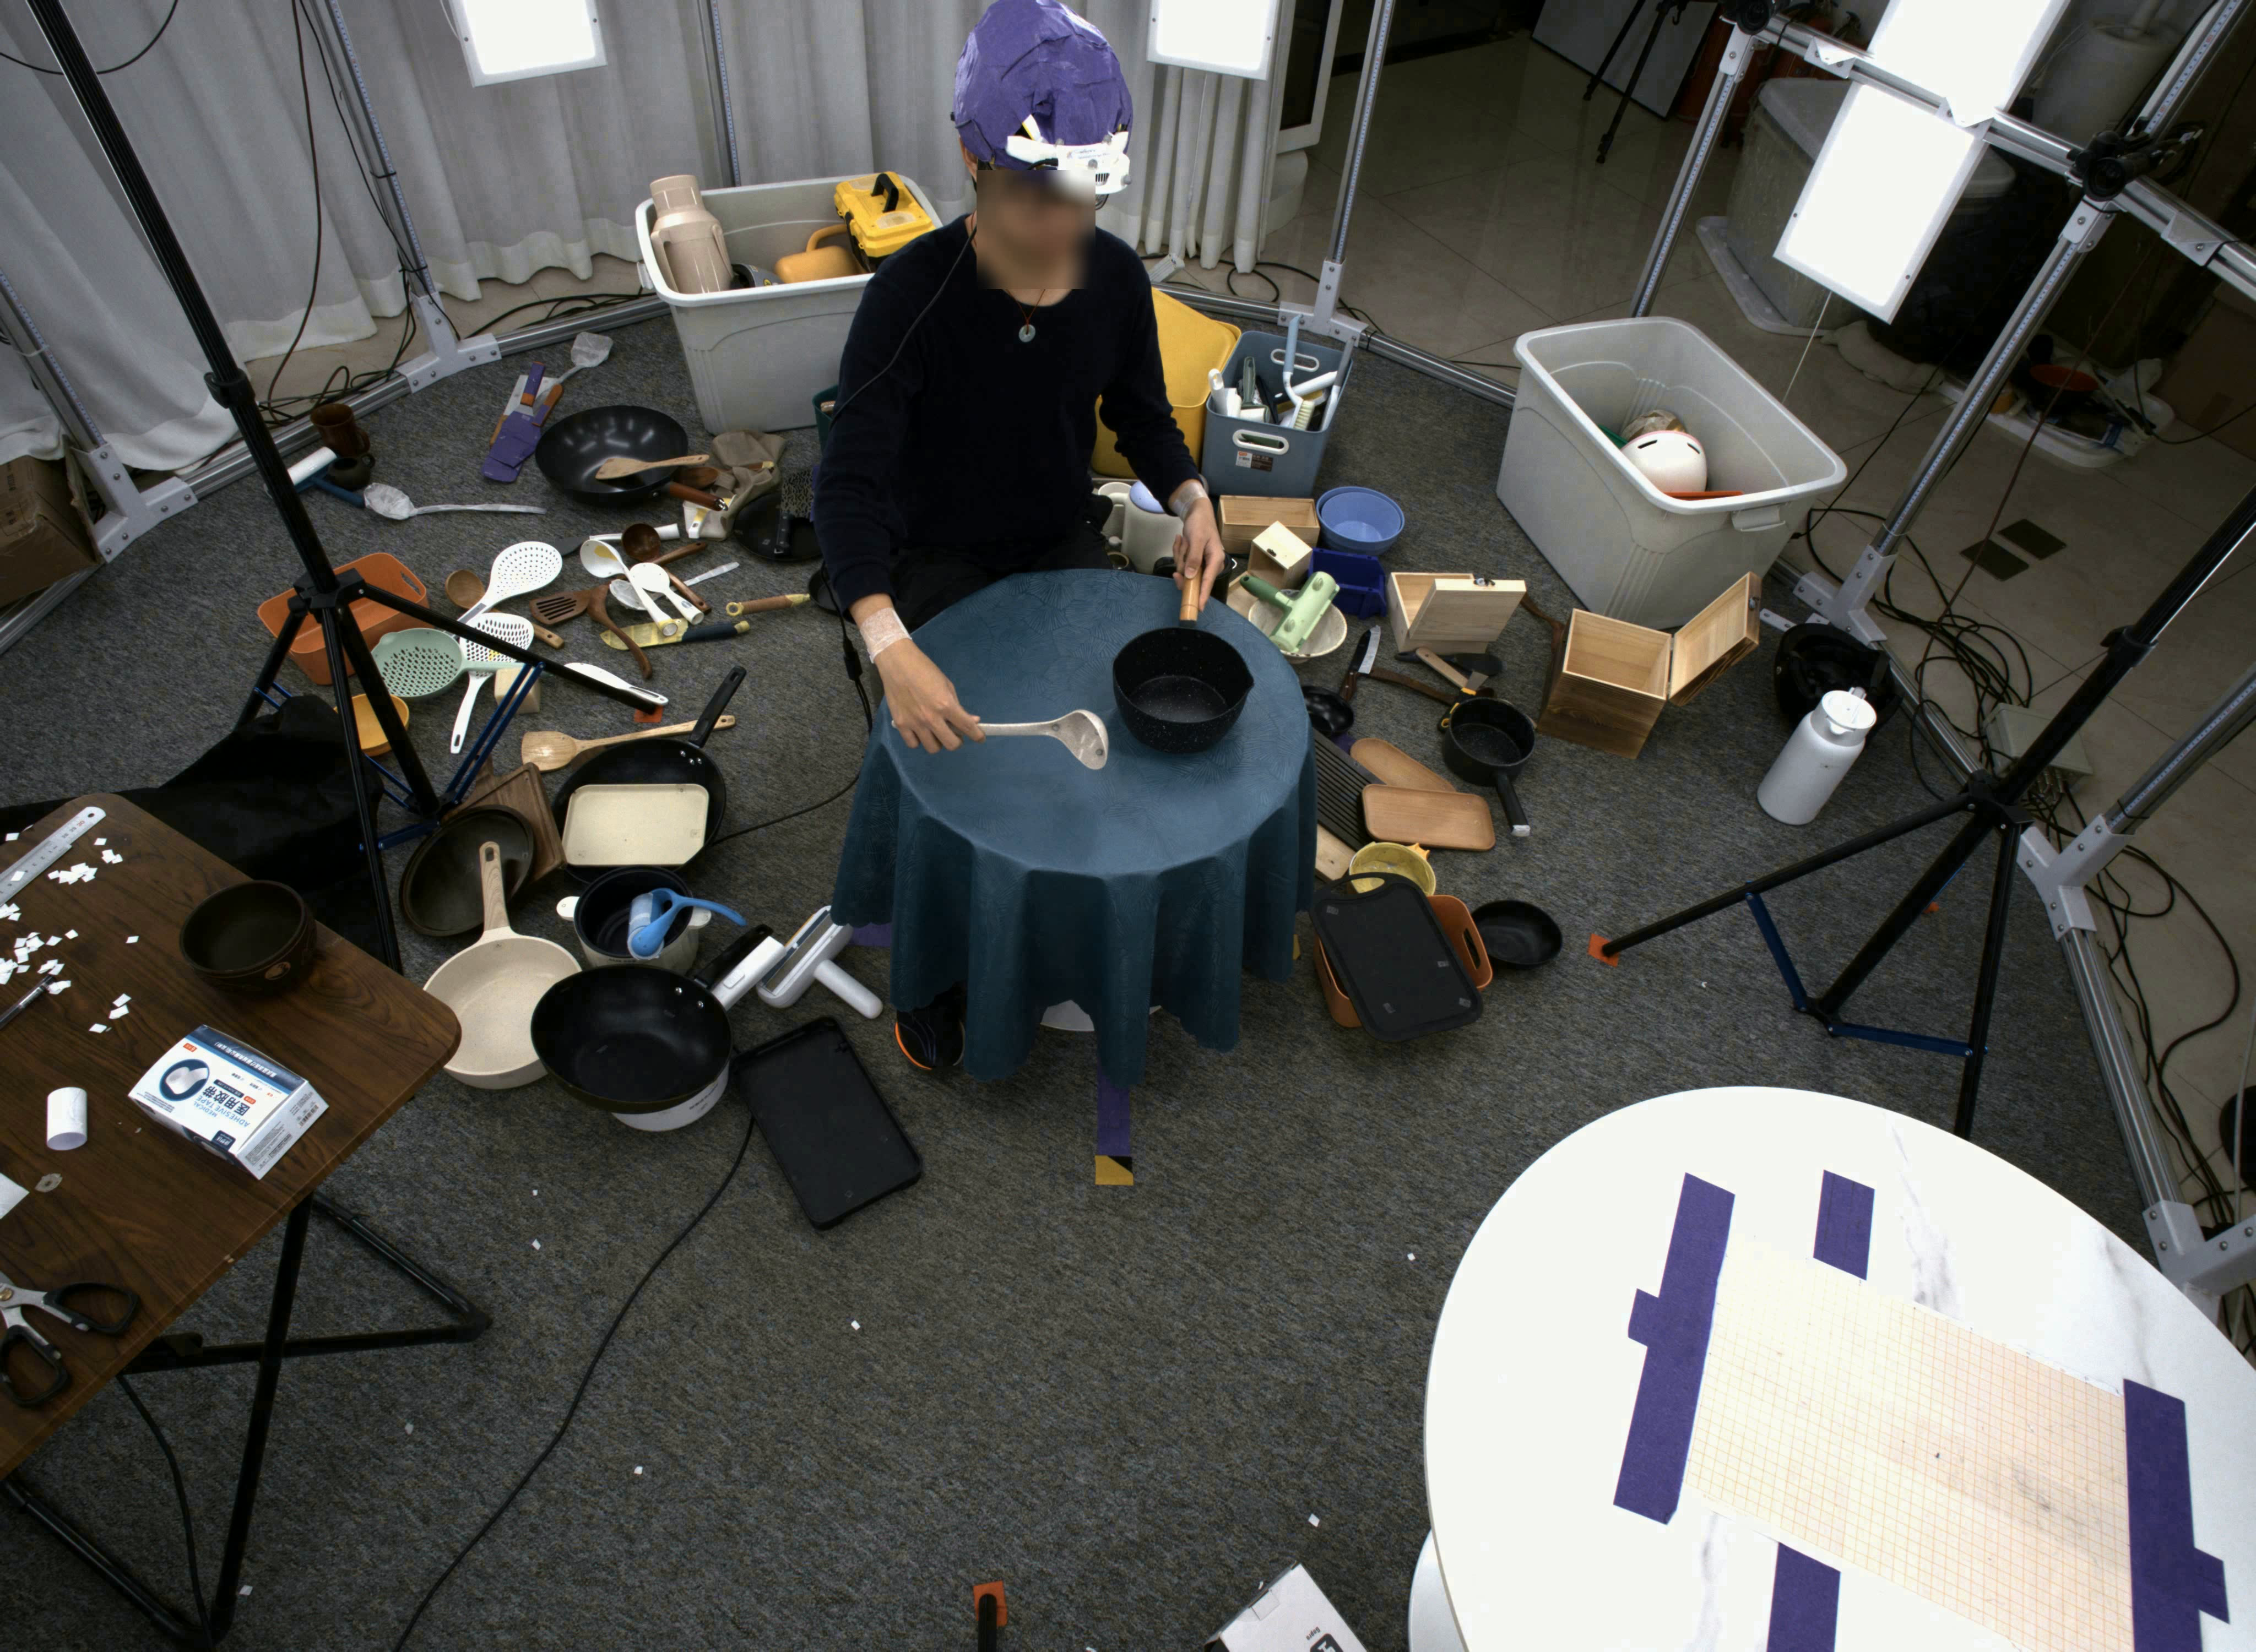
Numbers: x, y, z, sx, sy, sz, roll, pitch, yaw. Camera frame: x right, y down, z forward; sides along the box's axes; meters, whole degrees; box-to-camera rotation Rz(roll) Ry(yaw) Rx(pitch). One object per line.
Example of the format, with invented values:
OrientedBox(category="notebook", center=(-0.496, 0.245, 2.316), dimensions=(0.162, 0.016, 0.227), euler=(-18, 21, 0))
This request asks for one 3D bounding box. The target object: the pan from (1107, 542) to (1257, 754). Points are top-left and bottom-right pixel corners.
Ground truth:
OrientedBox(category="pan", center=(0.079, -0.253, 1.819), dimensions=(0.207, 0.105, 0.351), euler=(5, 52, 2))

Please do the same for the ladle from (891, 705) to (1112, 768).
OrientedBox(category="ladle", center=(-0.158, -0.112, 1.616), dimensions=(0.274, 0.087, 0.071), euler=(-2, 43, -9))
